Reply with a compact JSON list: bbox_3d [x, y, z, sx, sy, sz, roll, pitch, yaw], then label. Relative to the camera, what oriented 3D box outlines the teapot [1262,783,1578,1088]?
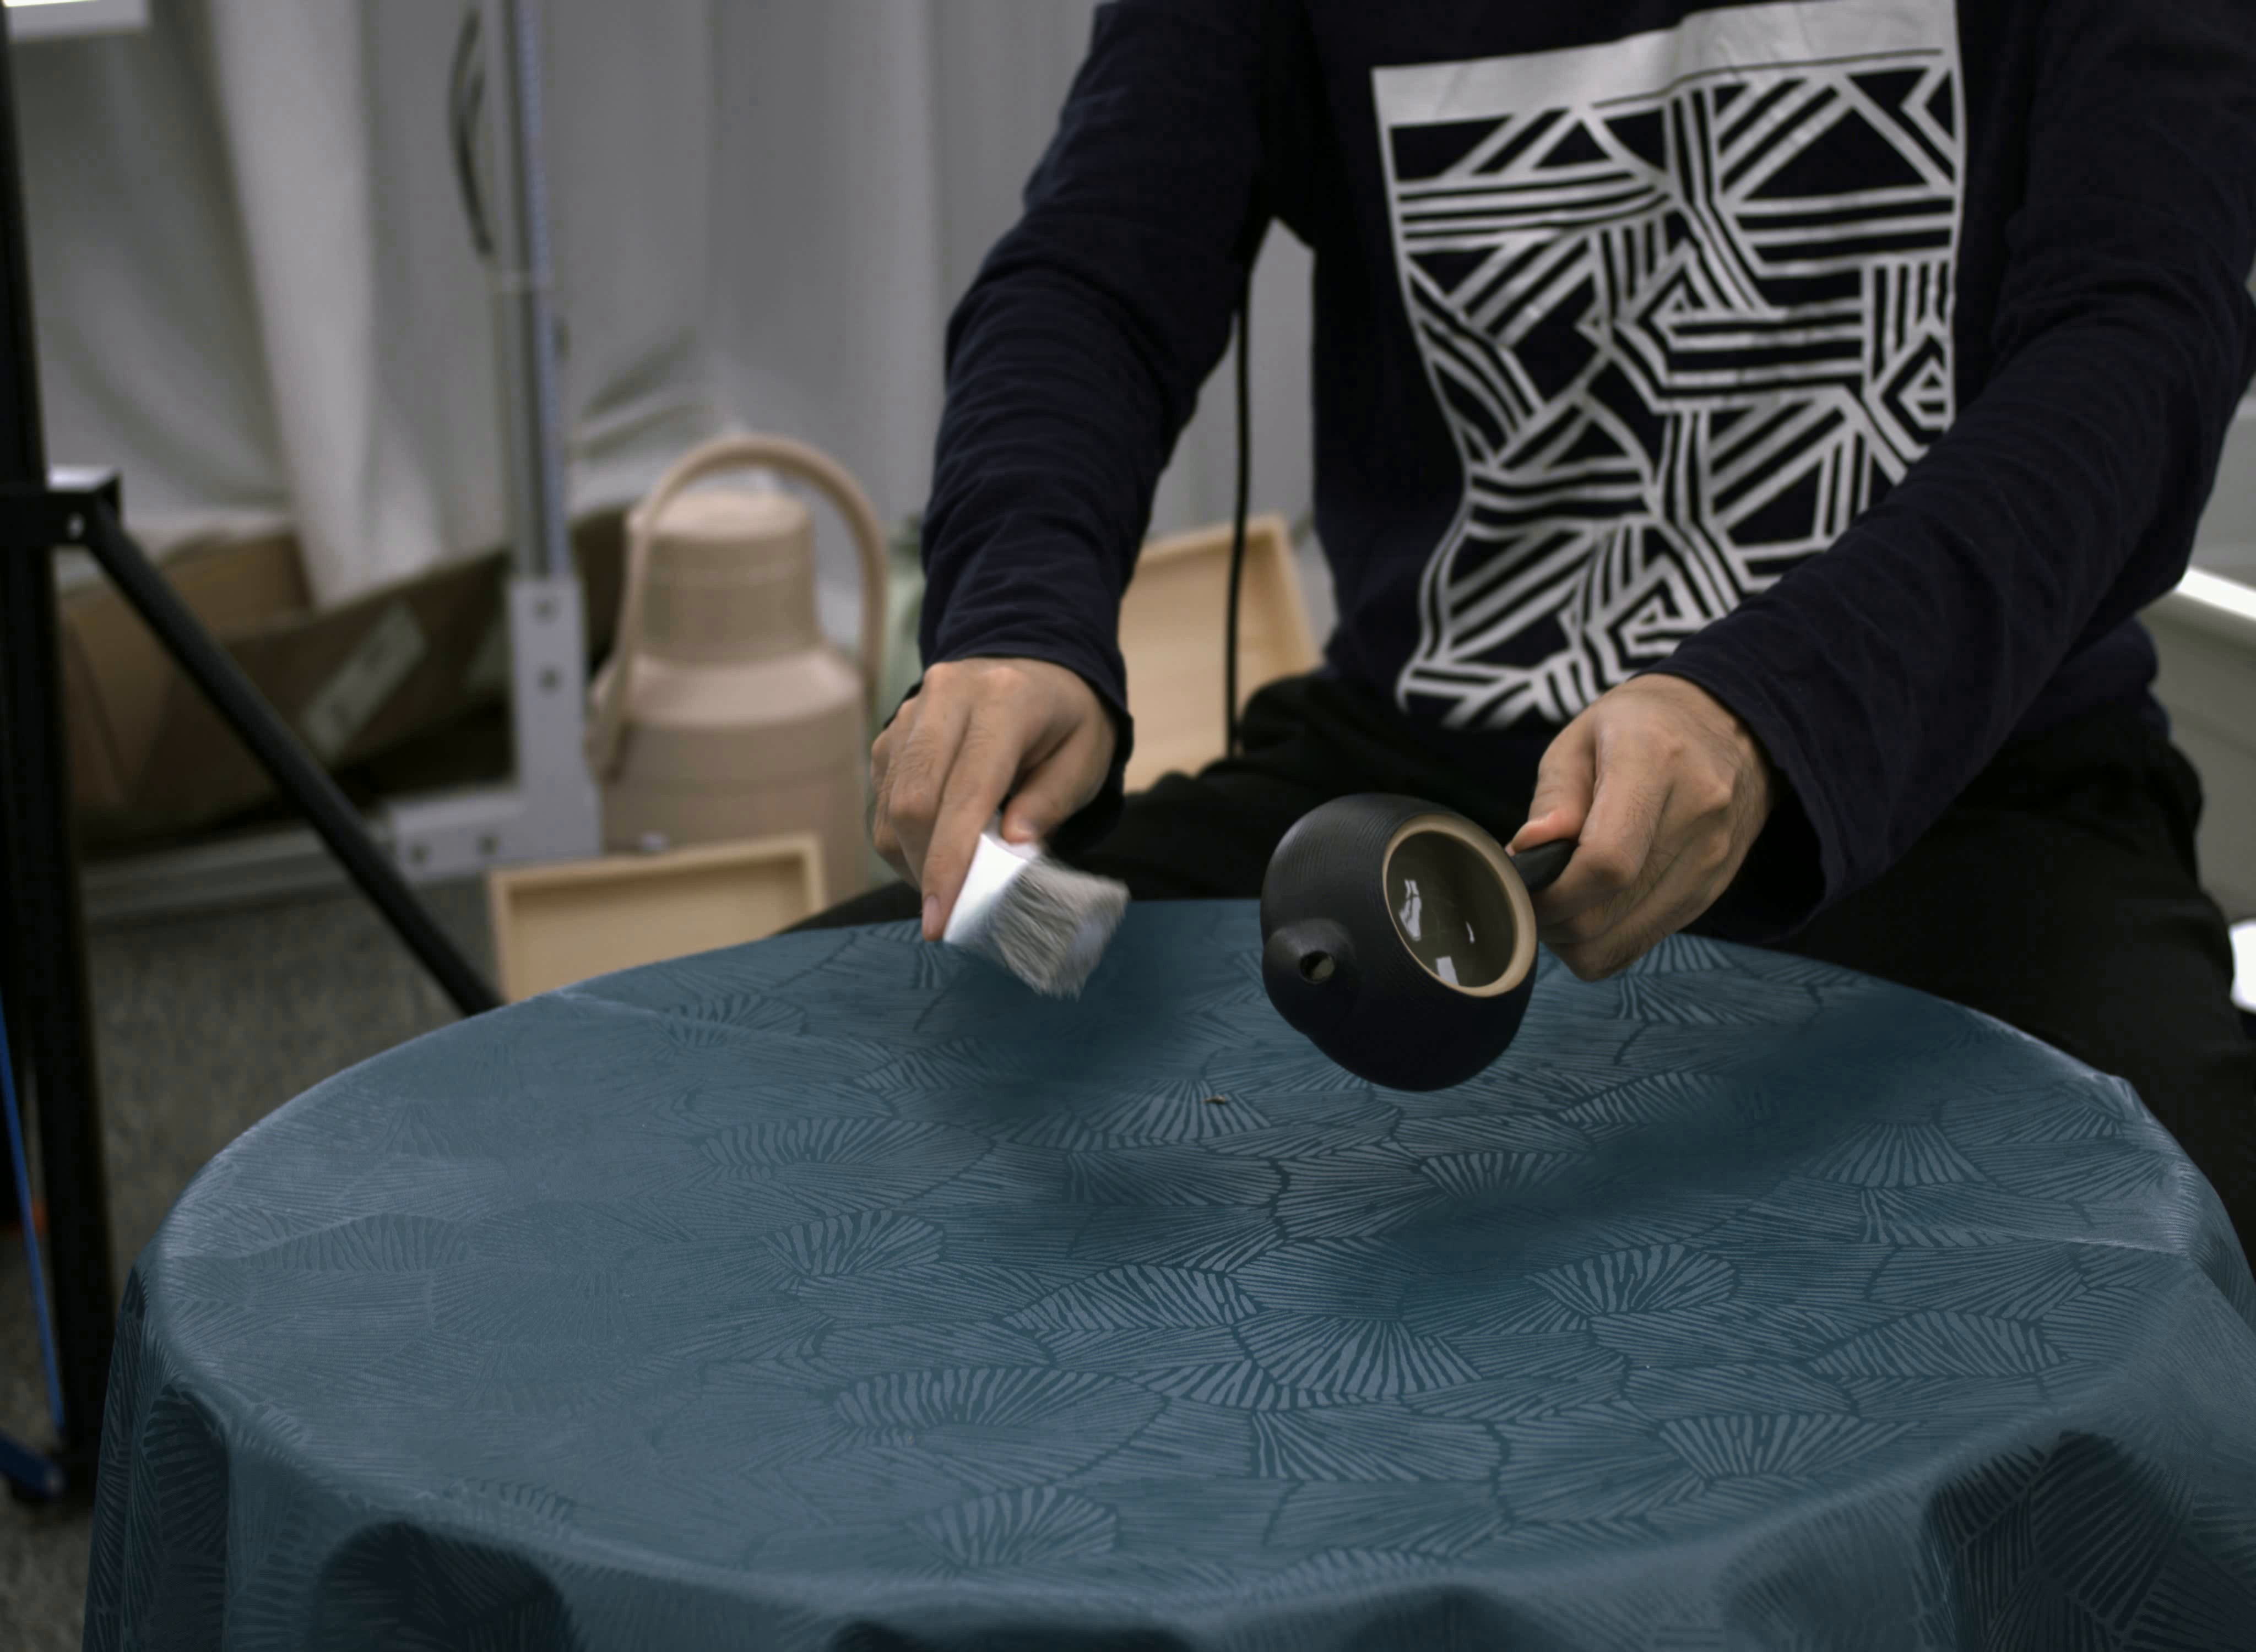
[{"bbox_3d":[0.080,0.031,1.542,0.130,0.091,0.054,-22,-4,-43],"label":"teapot"}]

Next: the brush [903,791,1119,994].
[{"bbox_3d":[-0.037,0.019,1.660,0.050,0.034,0.245,27,2,-8],"label":"brush"}]
